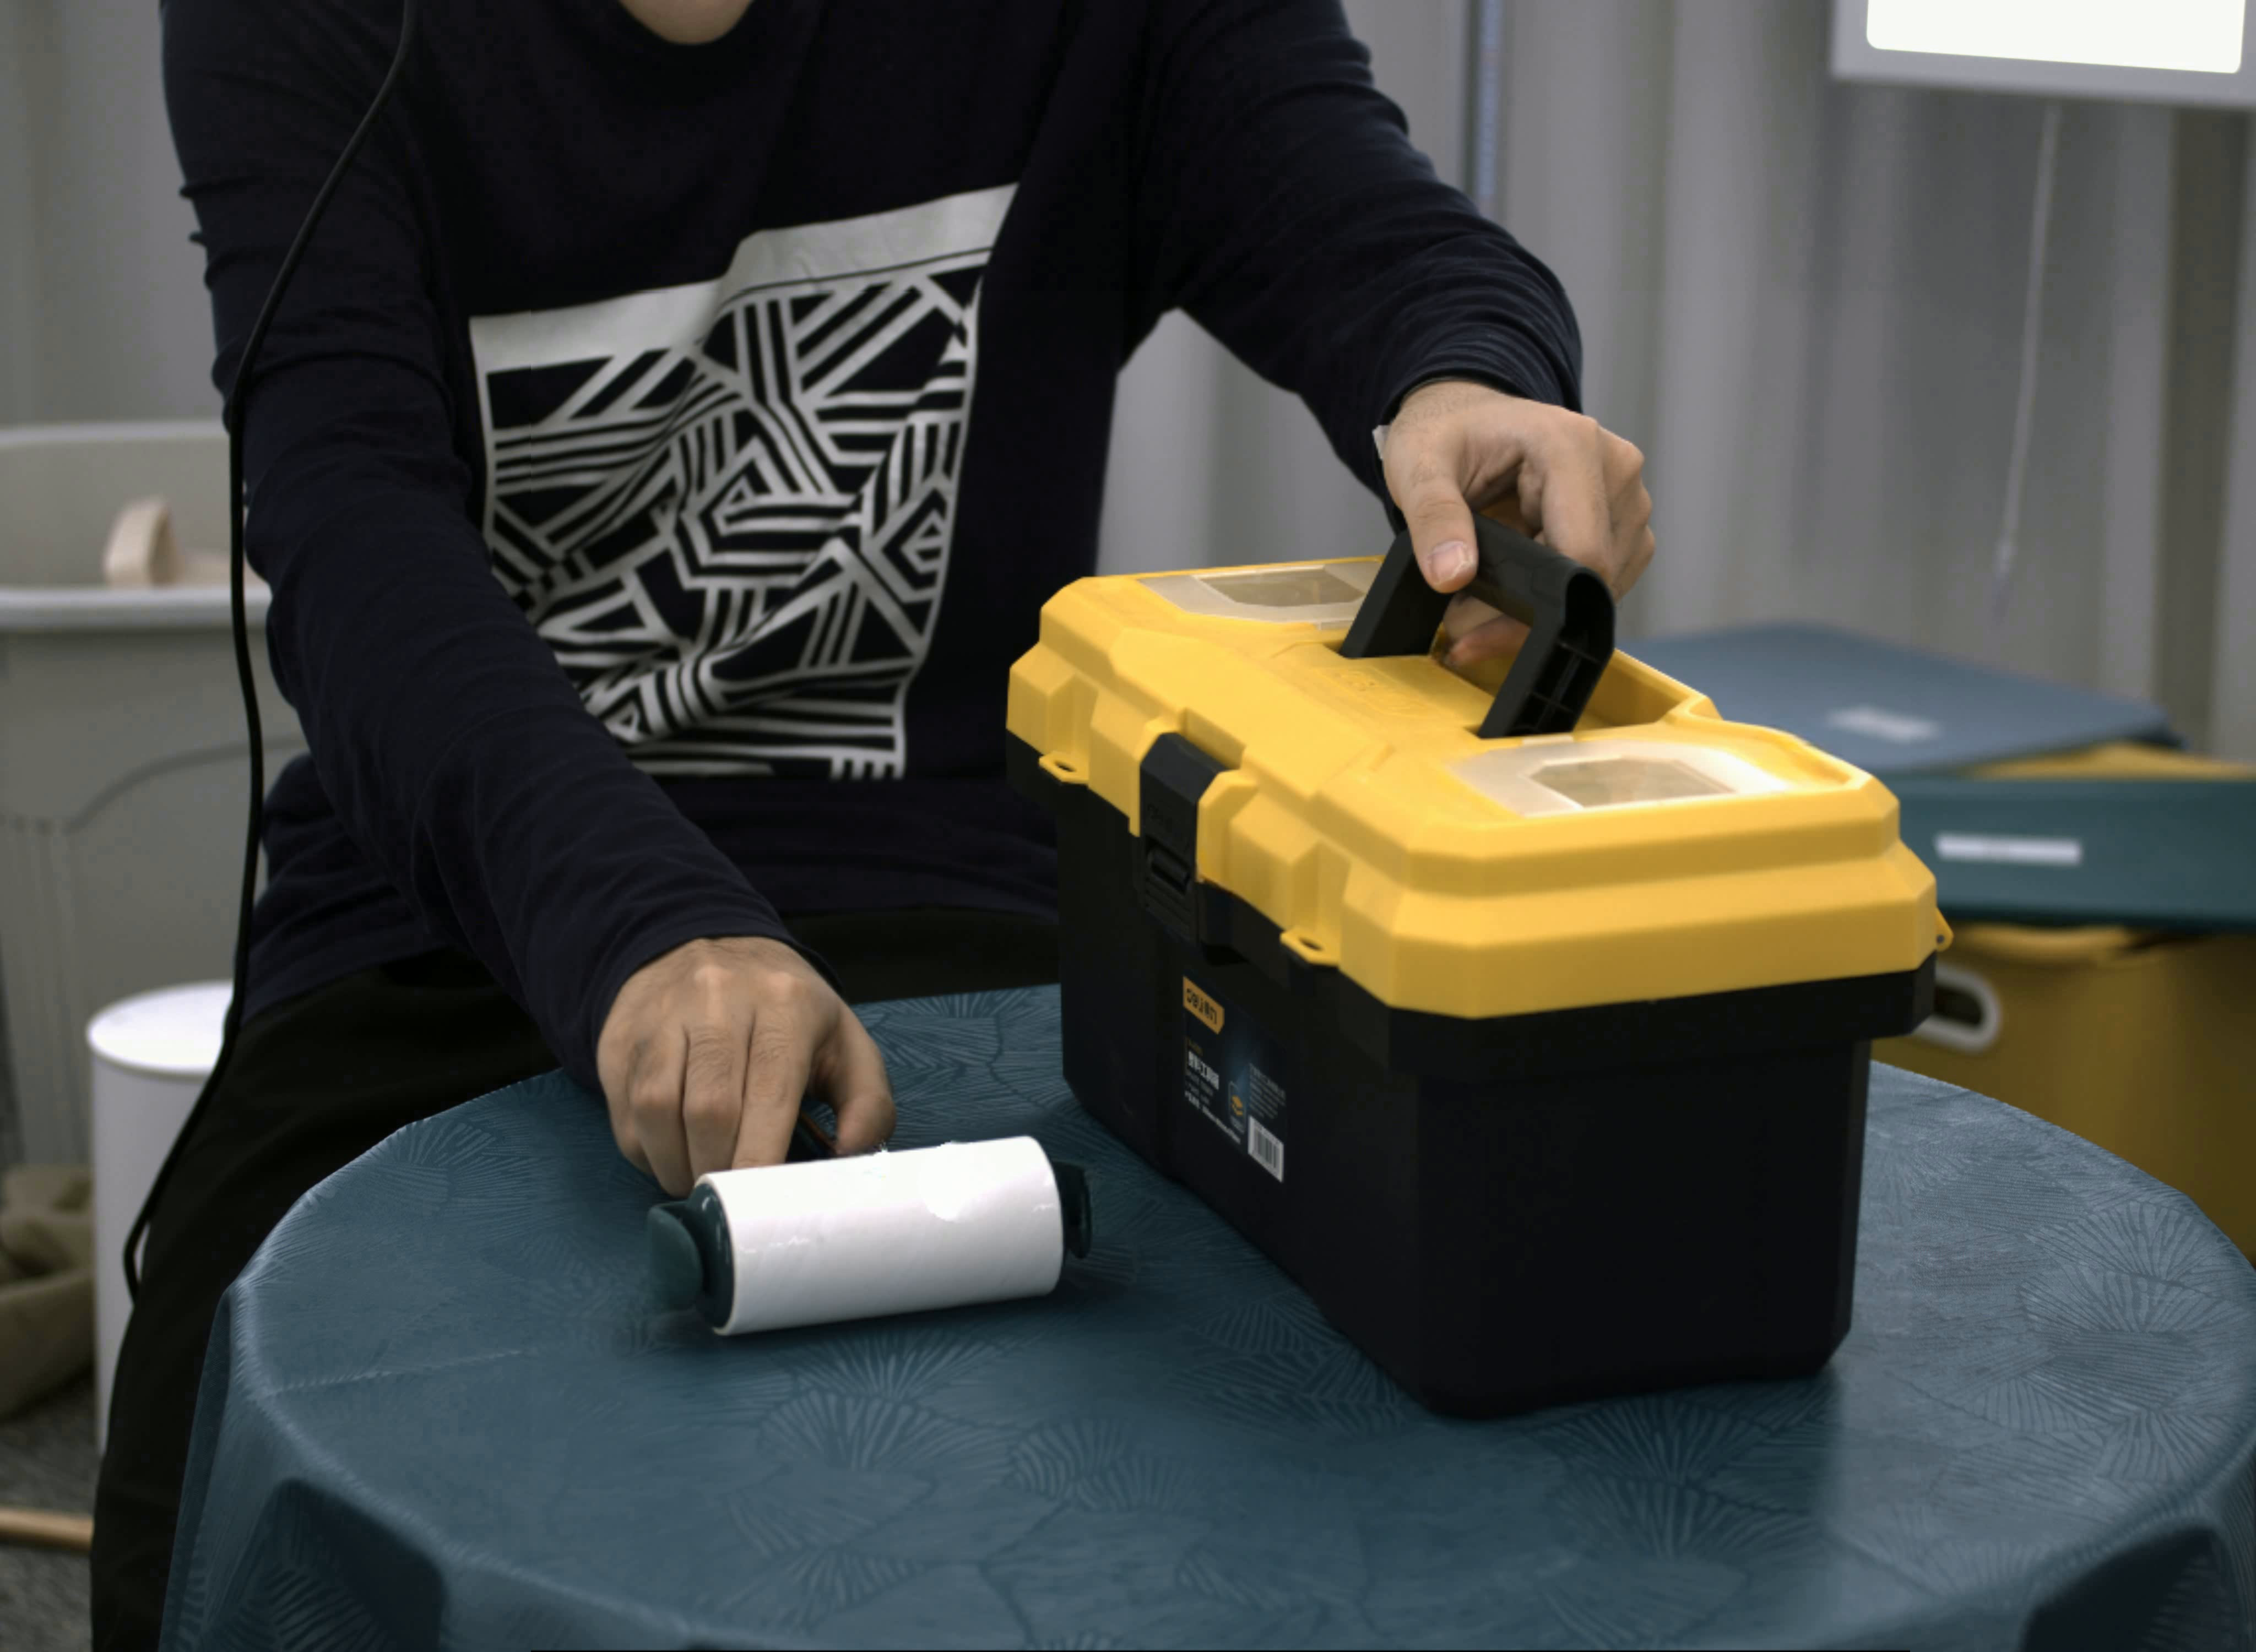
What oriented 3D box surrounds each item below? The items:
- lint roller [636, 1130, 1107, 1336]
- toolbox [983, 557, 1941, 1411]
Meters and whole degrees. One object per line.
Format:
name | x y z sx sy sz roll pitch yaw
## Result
lint roller | -0.098 0.101 1.573 0.135 0.049 0.178 -6 17 -21
toolbox | 0.089 0.038 1.573 0.182 0.174 0.347 -5 16 -20
